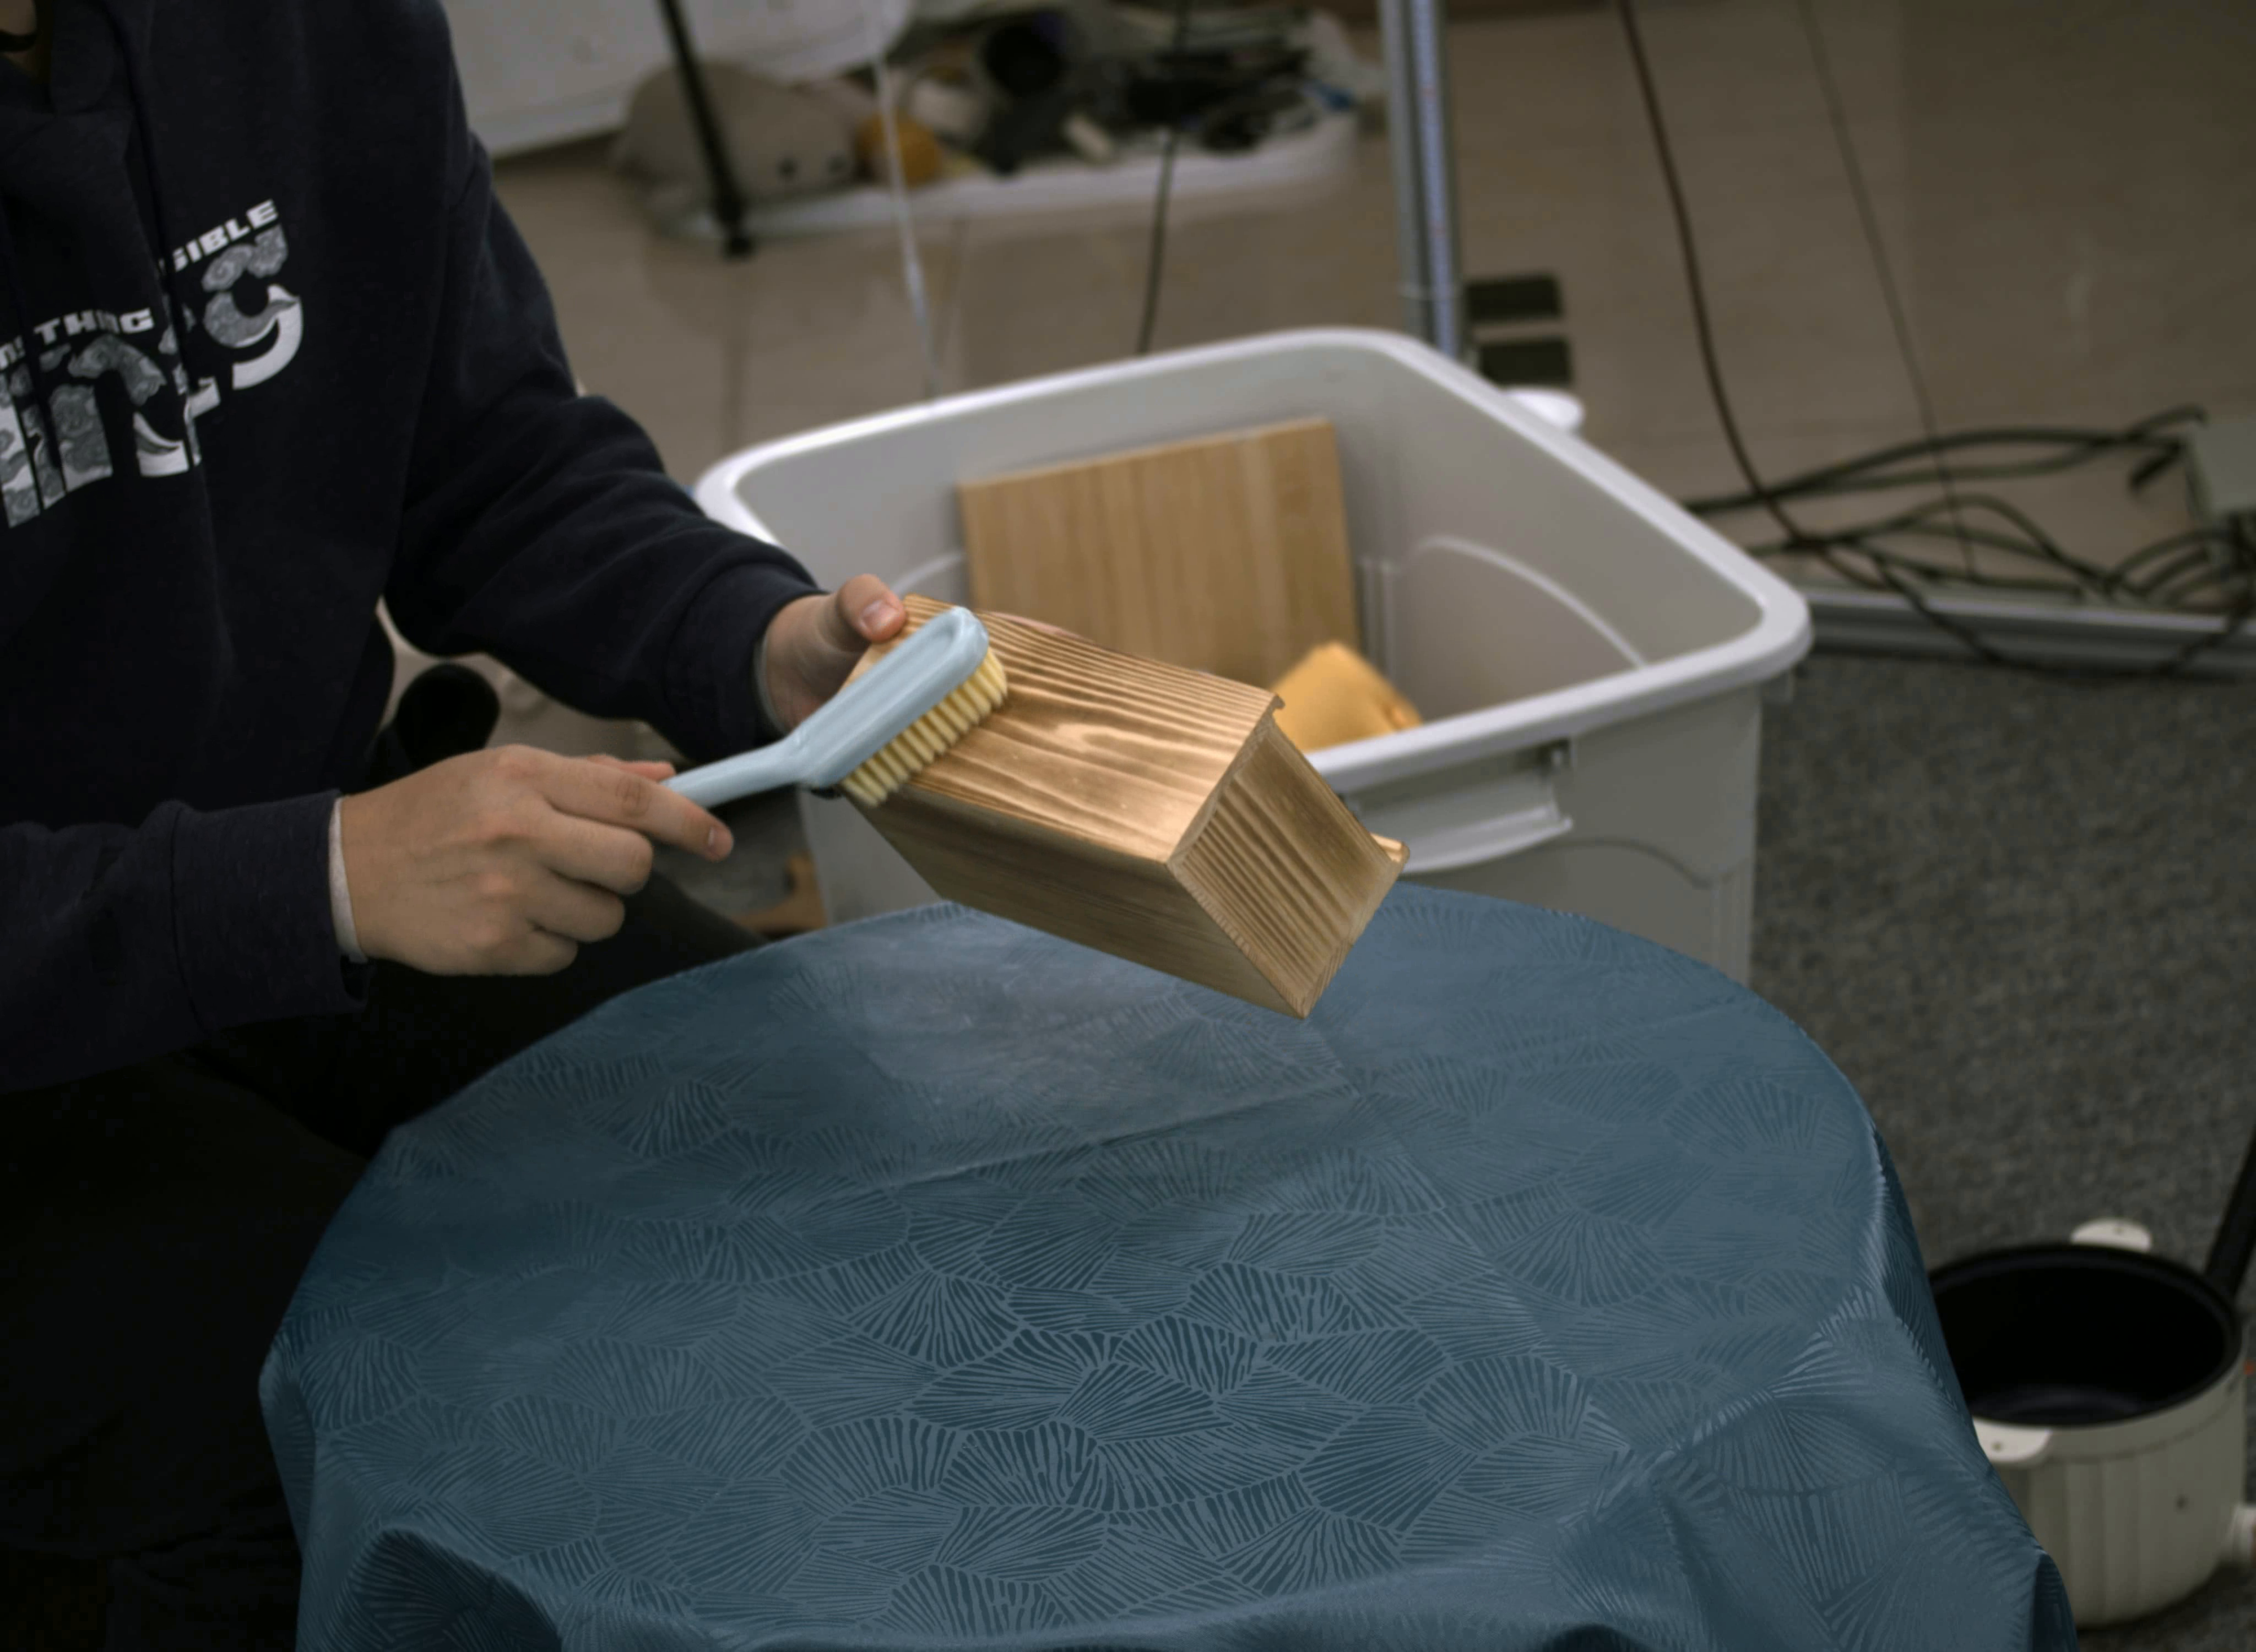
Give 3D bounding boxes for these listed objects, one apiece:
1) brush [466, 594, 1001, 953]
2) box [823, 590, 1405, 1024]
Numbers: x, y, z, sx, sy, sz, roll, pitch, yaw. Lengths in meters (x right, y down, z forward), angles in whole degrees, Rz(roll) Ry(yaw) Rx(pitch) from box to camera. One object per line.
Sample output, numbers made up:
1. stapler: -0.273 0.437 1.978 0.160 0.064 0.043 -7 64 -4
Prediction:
1. brush: -0.149 -0.013 2.154 0.228 0.050 0.037 -31 42 -3
2. box: -0.011 -0.009 2.176 0.210 0.109 0.079 19 69 45
